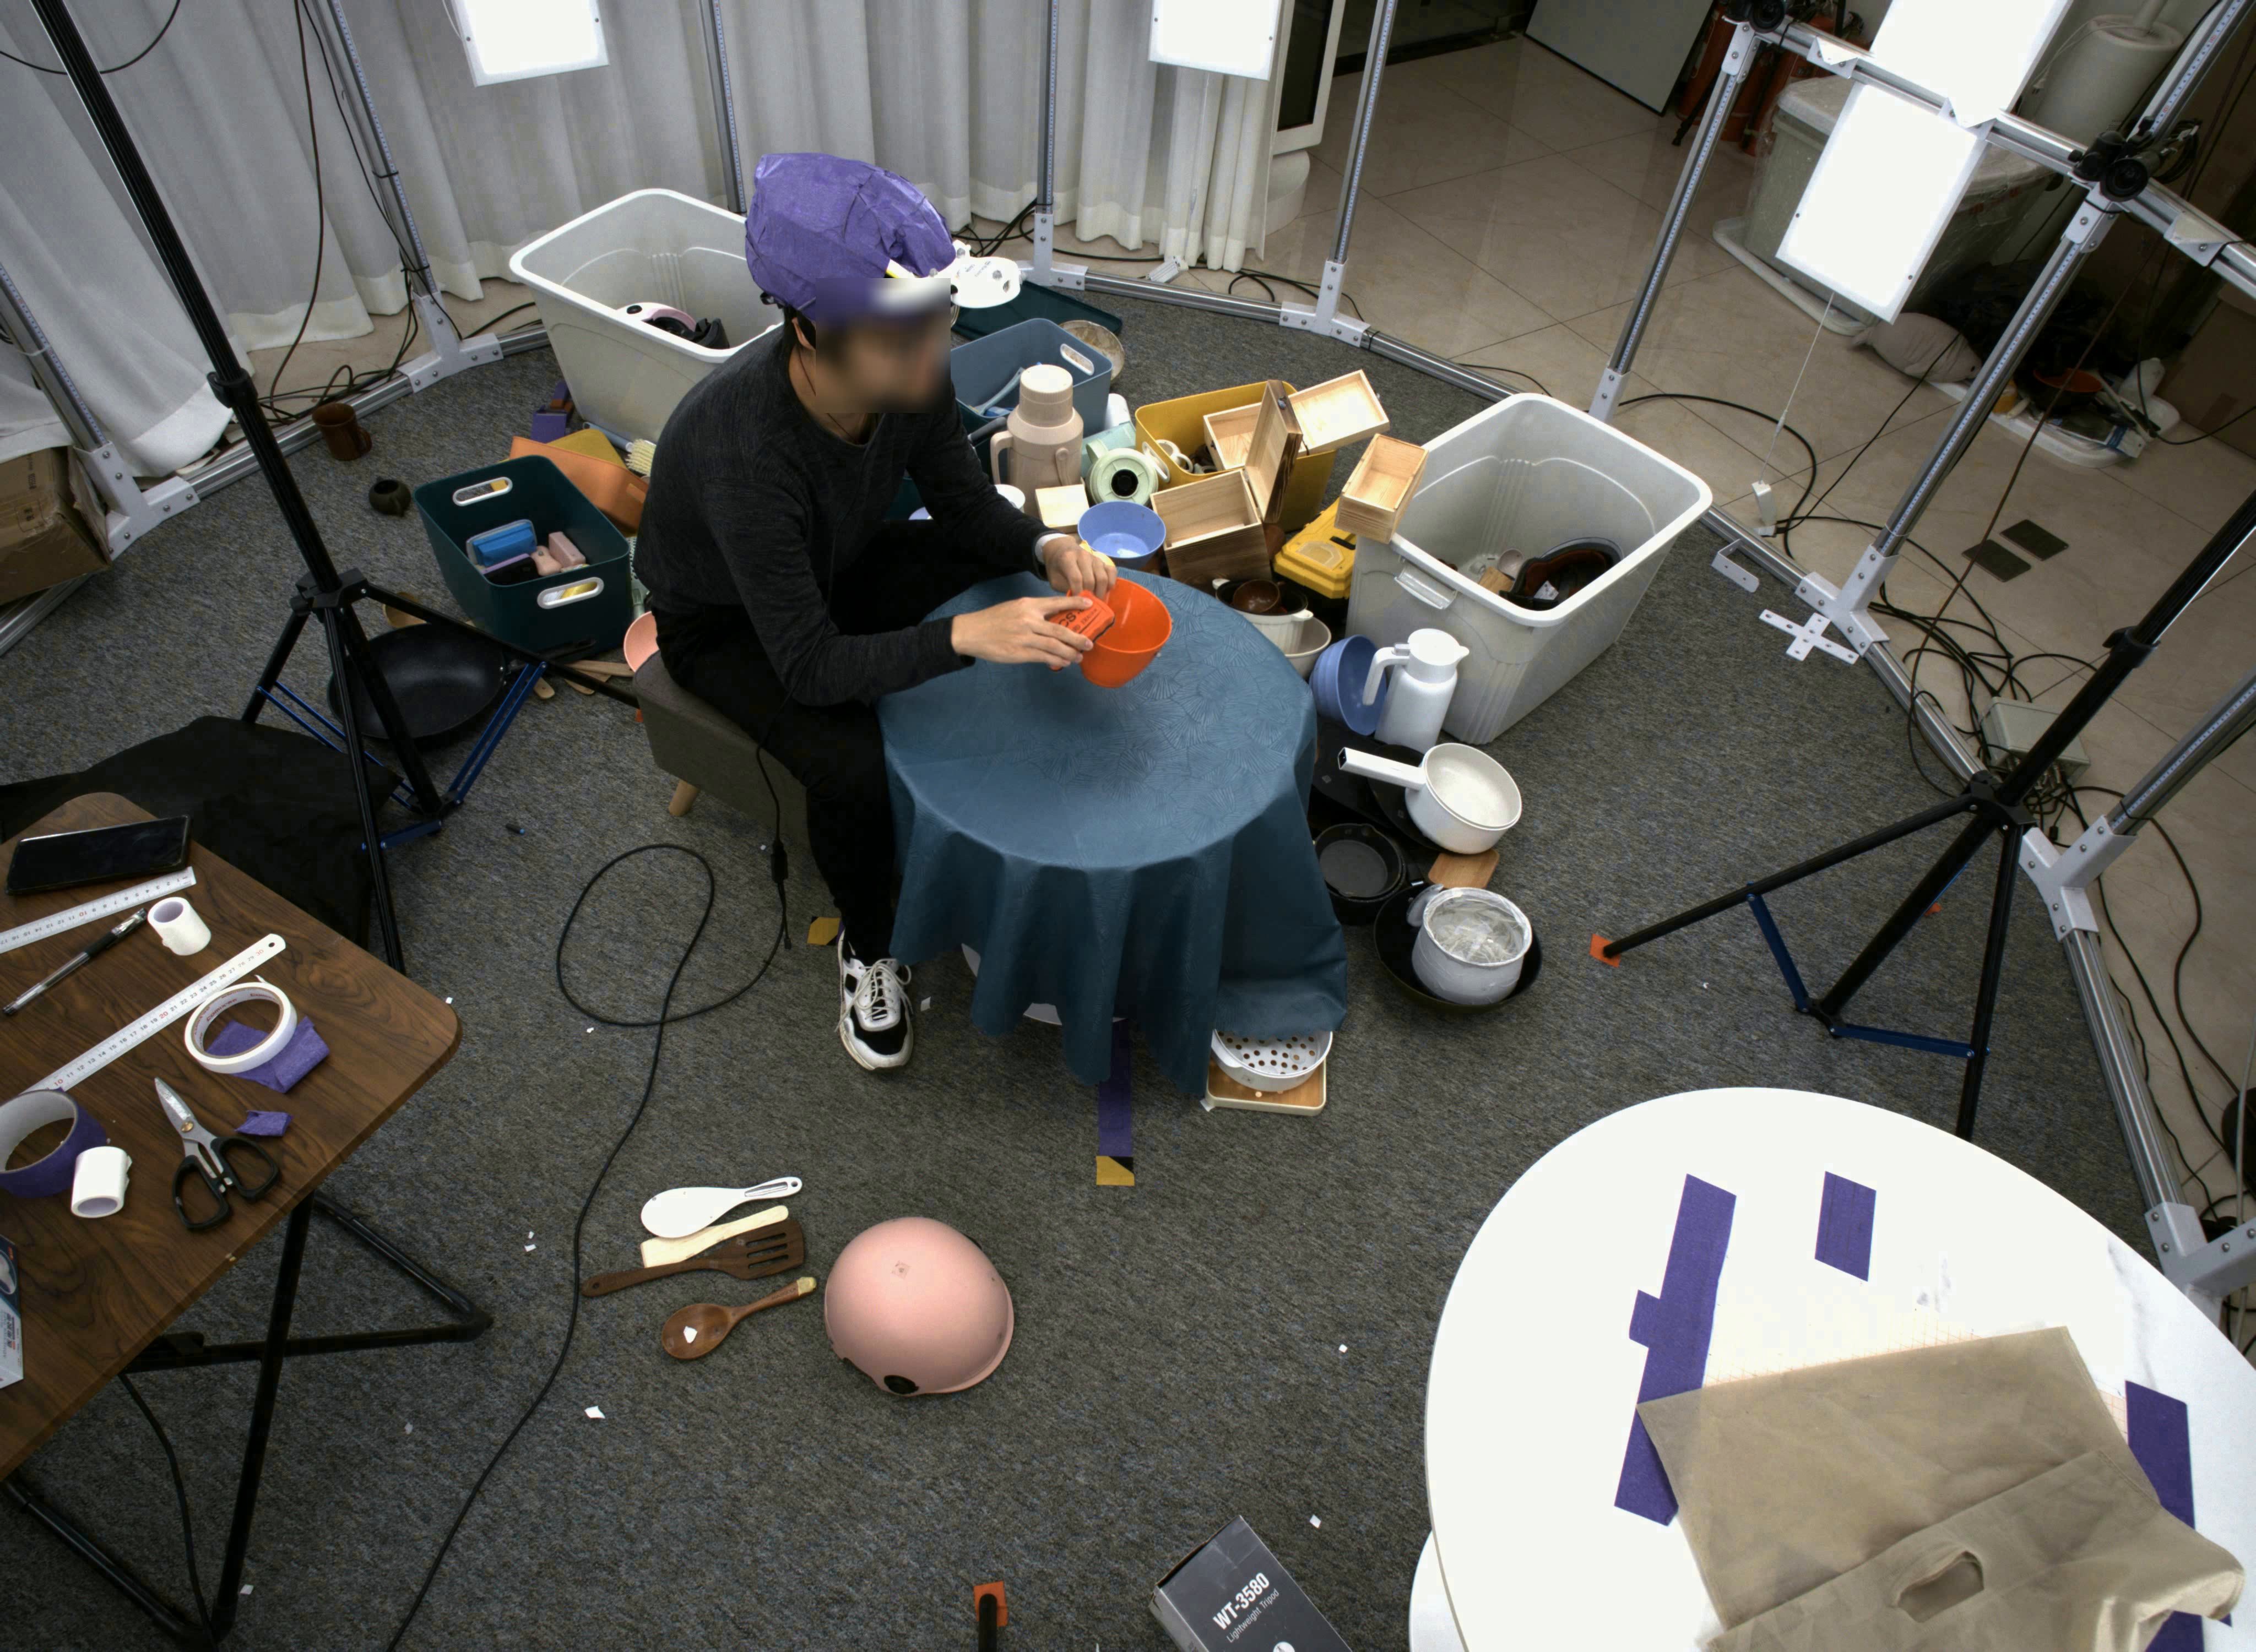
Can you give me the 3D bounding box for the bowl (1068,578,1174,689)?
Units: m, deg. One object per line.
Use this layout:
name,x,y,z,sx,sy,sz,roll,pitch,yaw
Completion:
bowl,-0.018,-0.254,1.740,0.147,0.102,0.151,11,36,-8

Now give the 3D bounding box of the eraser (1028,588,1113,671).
eraser,-0.074,-0.254,1.657,0.108,0.022,0.060,-43,68,-9
